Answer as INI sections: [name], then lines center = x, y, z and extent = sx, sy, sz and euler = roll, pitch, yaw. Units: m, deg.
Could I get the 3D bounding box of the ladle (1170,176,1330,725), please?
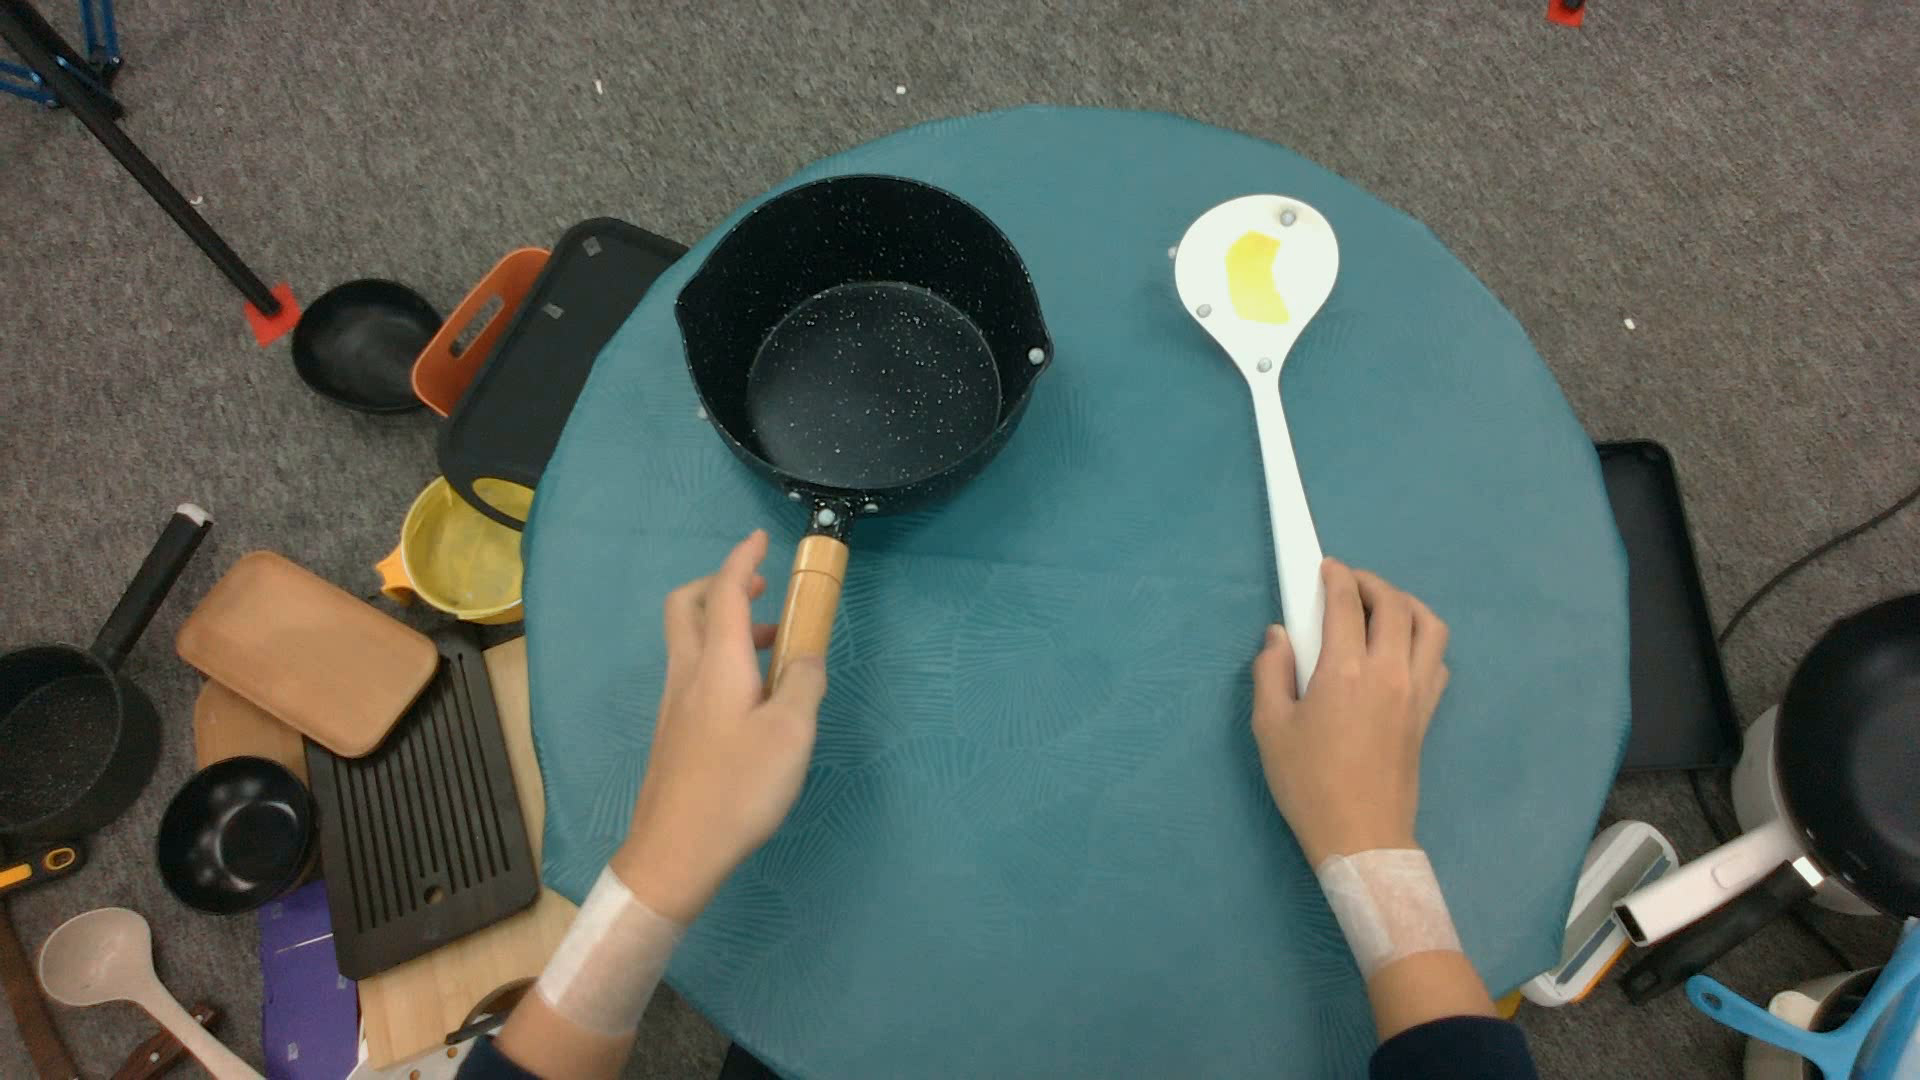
[ladle]
center = 0.168, -0.051, 0.744
extent = 0.090, 0.070, 0.294
euler = -3, 72, -1

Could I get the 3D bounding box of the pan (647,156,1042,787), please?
[pan]
center = -0.069, -0.035, 0.710
extent = 0.207, 0.108, 0.344
euler = 7, 69, 1
